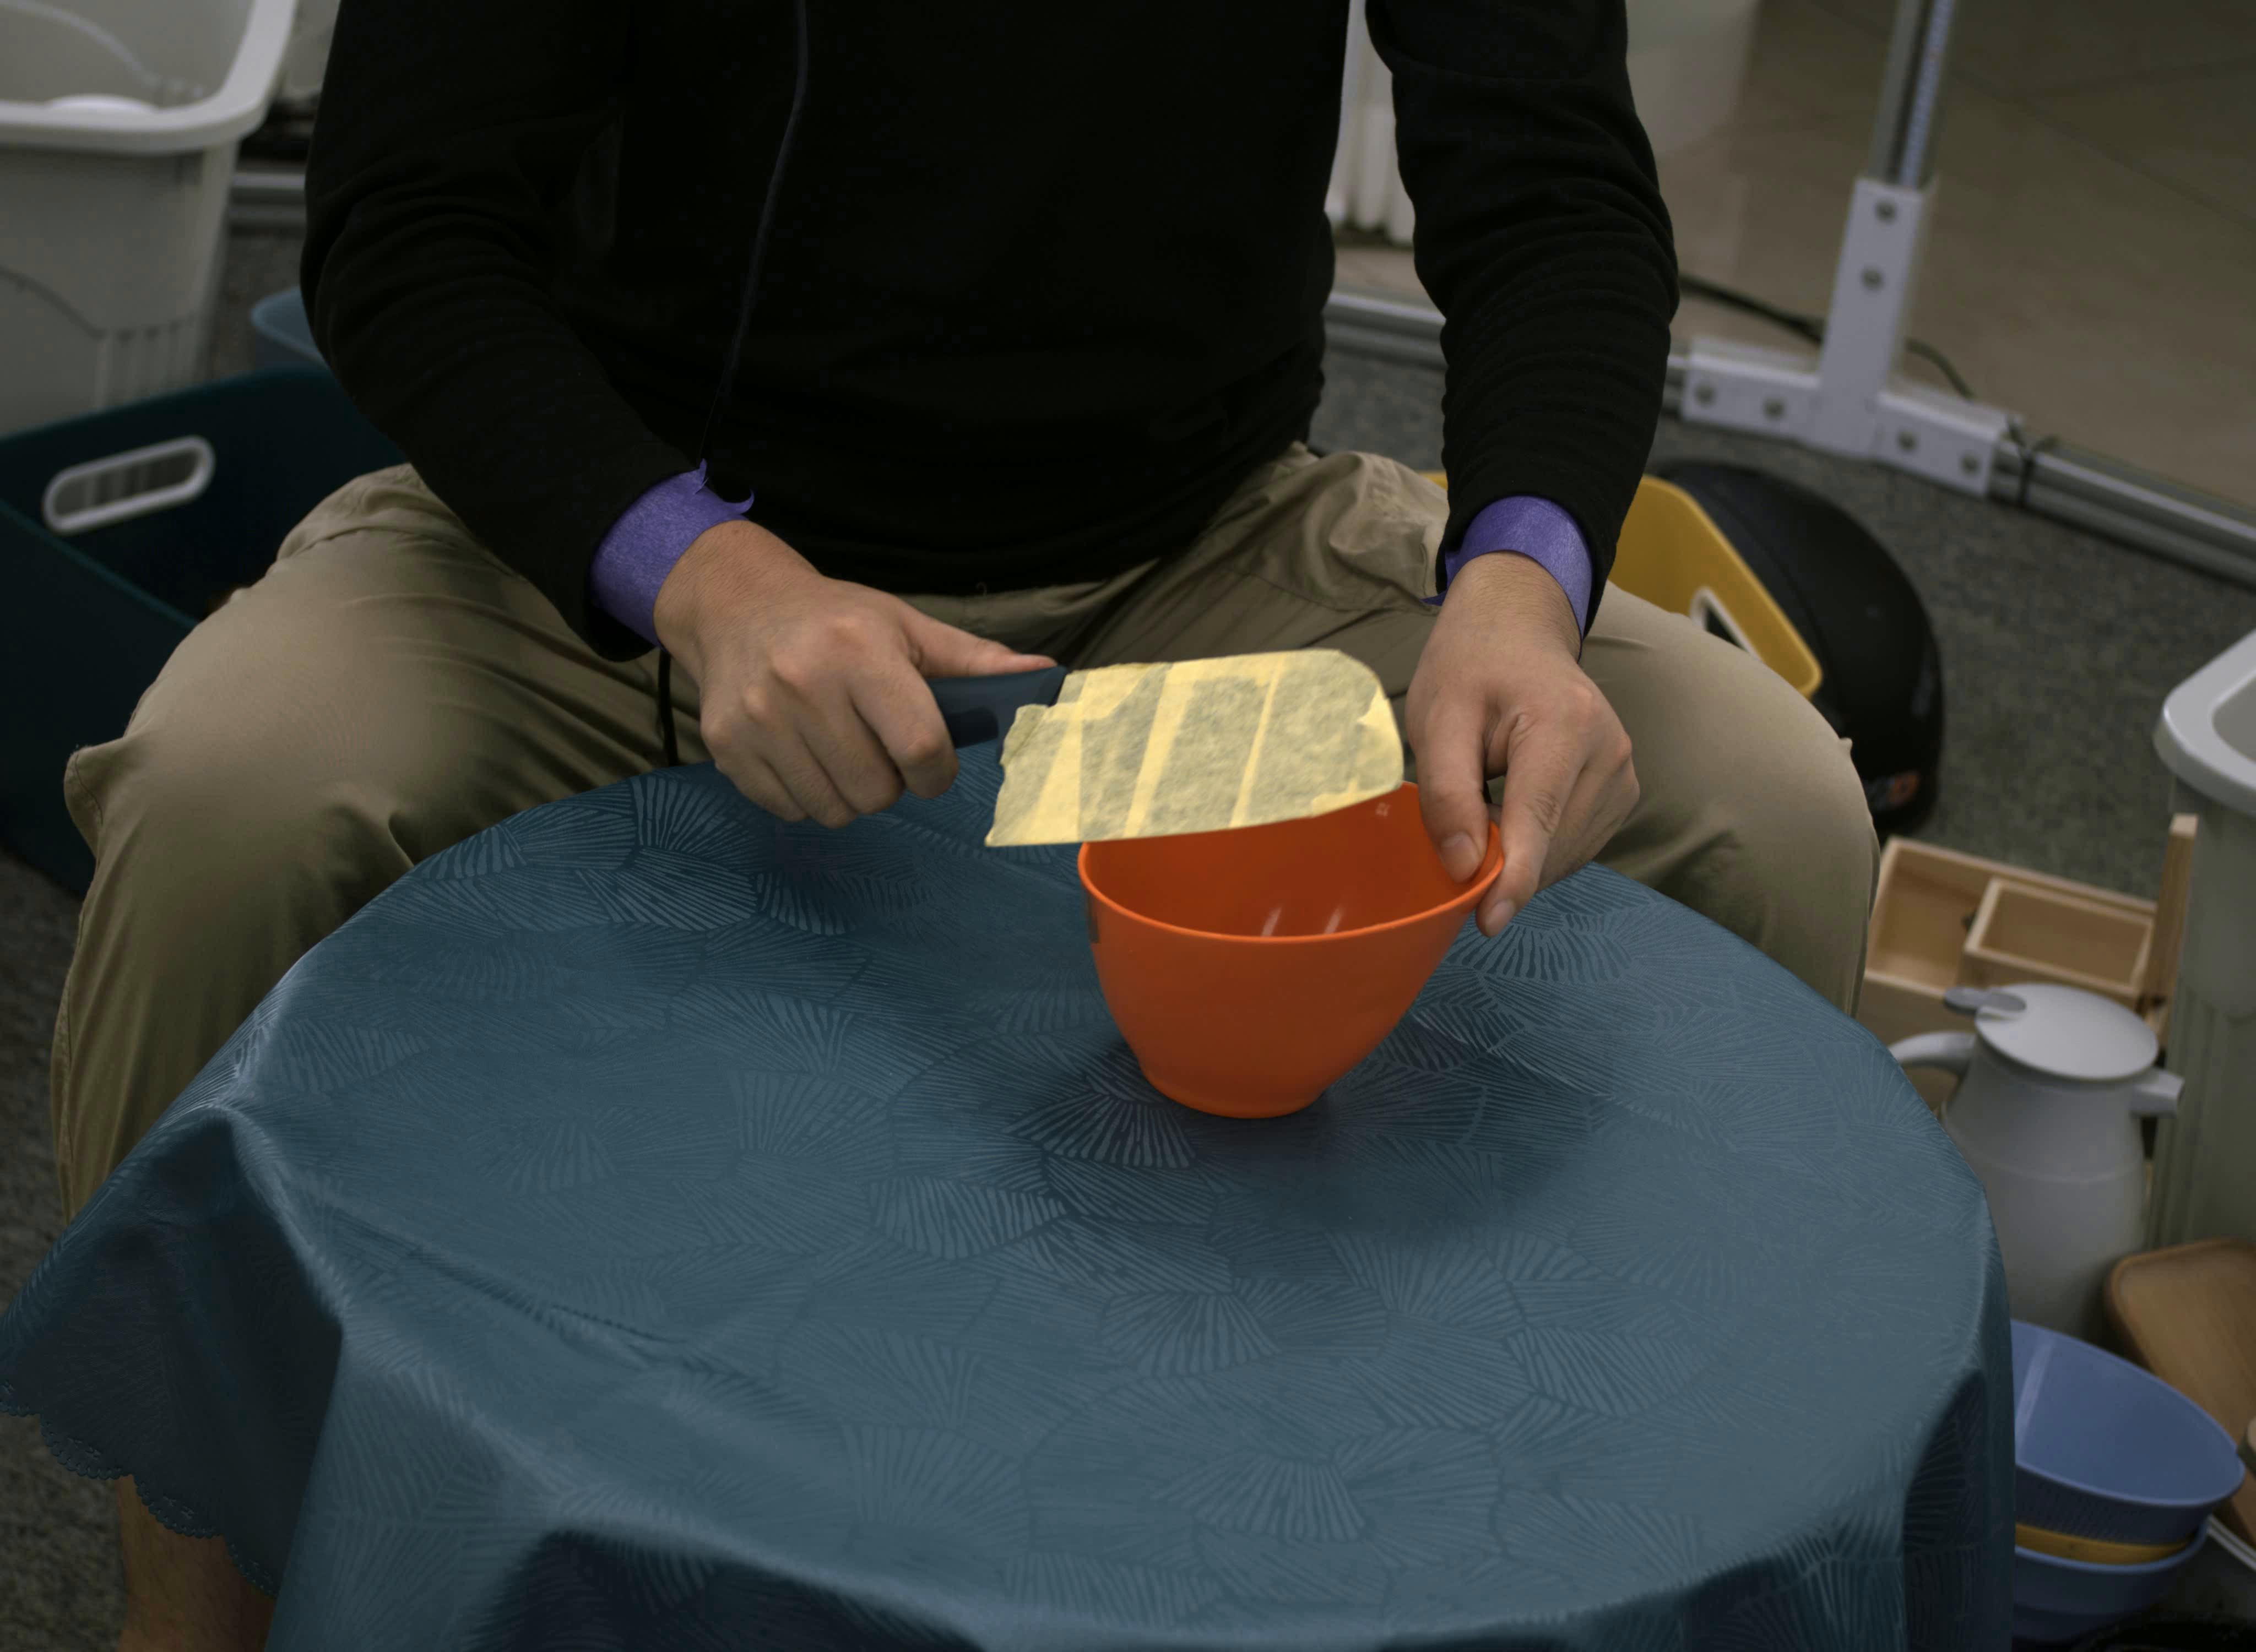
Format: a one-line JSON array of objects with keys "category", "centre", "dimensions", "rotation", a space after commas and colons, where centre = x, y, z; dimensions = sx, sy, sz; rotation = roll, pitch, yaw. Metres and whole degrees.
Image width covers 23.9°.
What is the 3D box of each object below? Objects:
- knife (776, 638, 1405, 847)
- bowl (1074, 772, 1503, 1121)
[{"category": "knife", "centre": [-0.018, -0.027, 1.891], "dimensions": [0.291, 0.027, 0.081], "rotation": [-4, 54, 39]}, {"category": "bowl", "centre": [0.051, 0.046, 1.857], "dimensions": [0.147, 0.104, 0.149], "rotation": [4, 28, -3]}]
